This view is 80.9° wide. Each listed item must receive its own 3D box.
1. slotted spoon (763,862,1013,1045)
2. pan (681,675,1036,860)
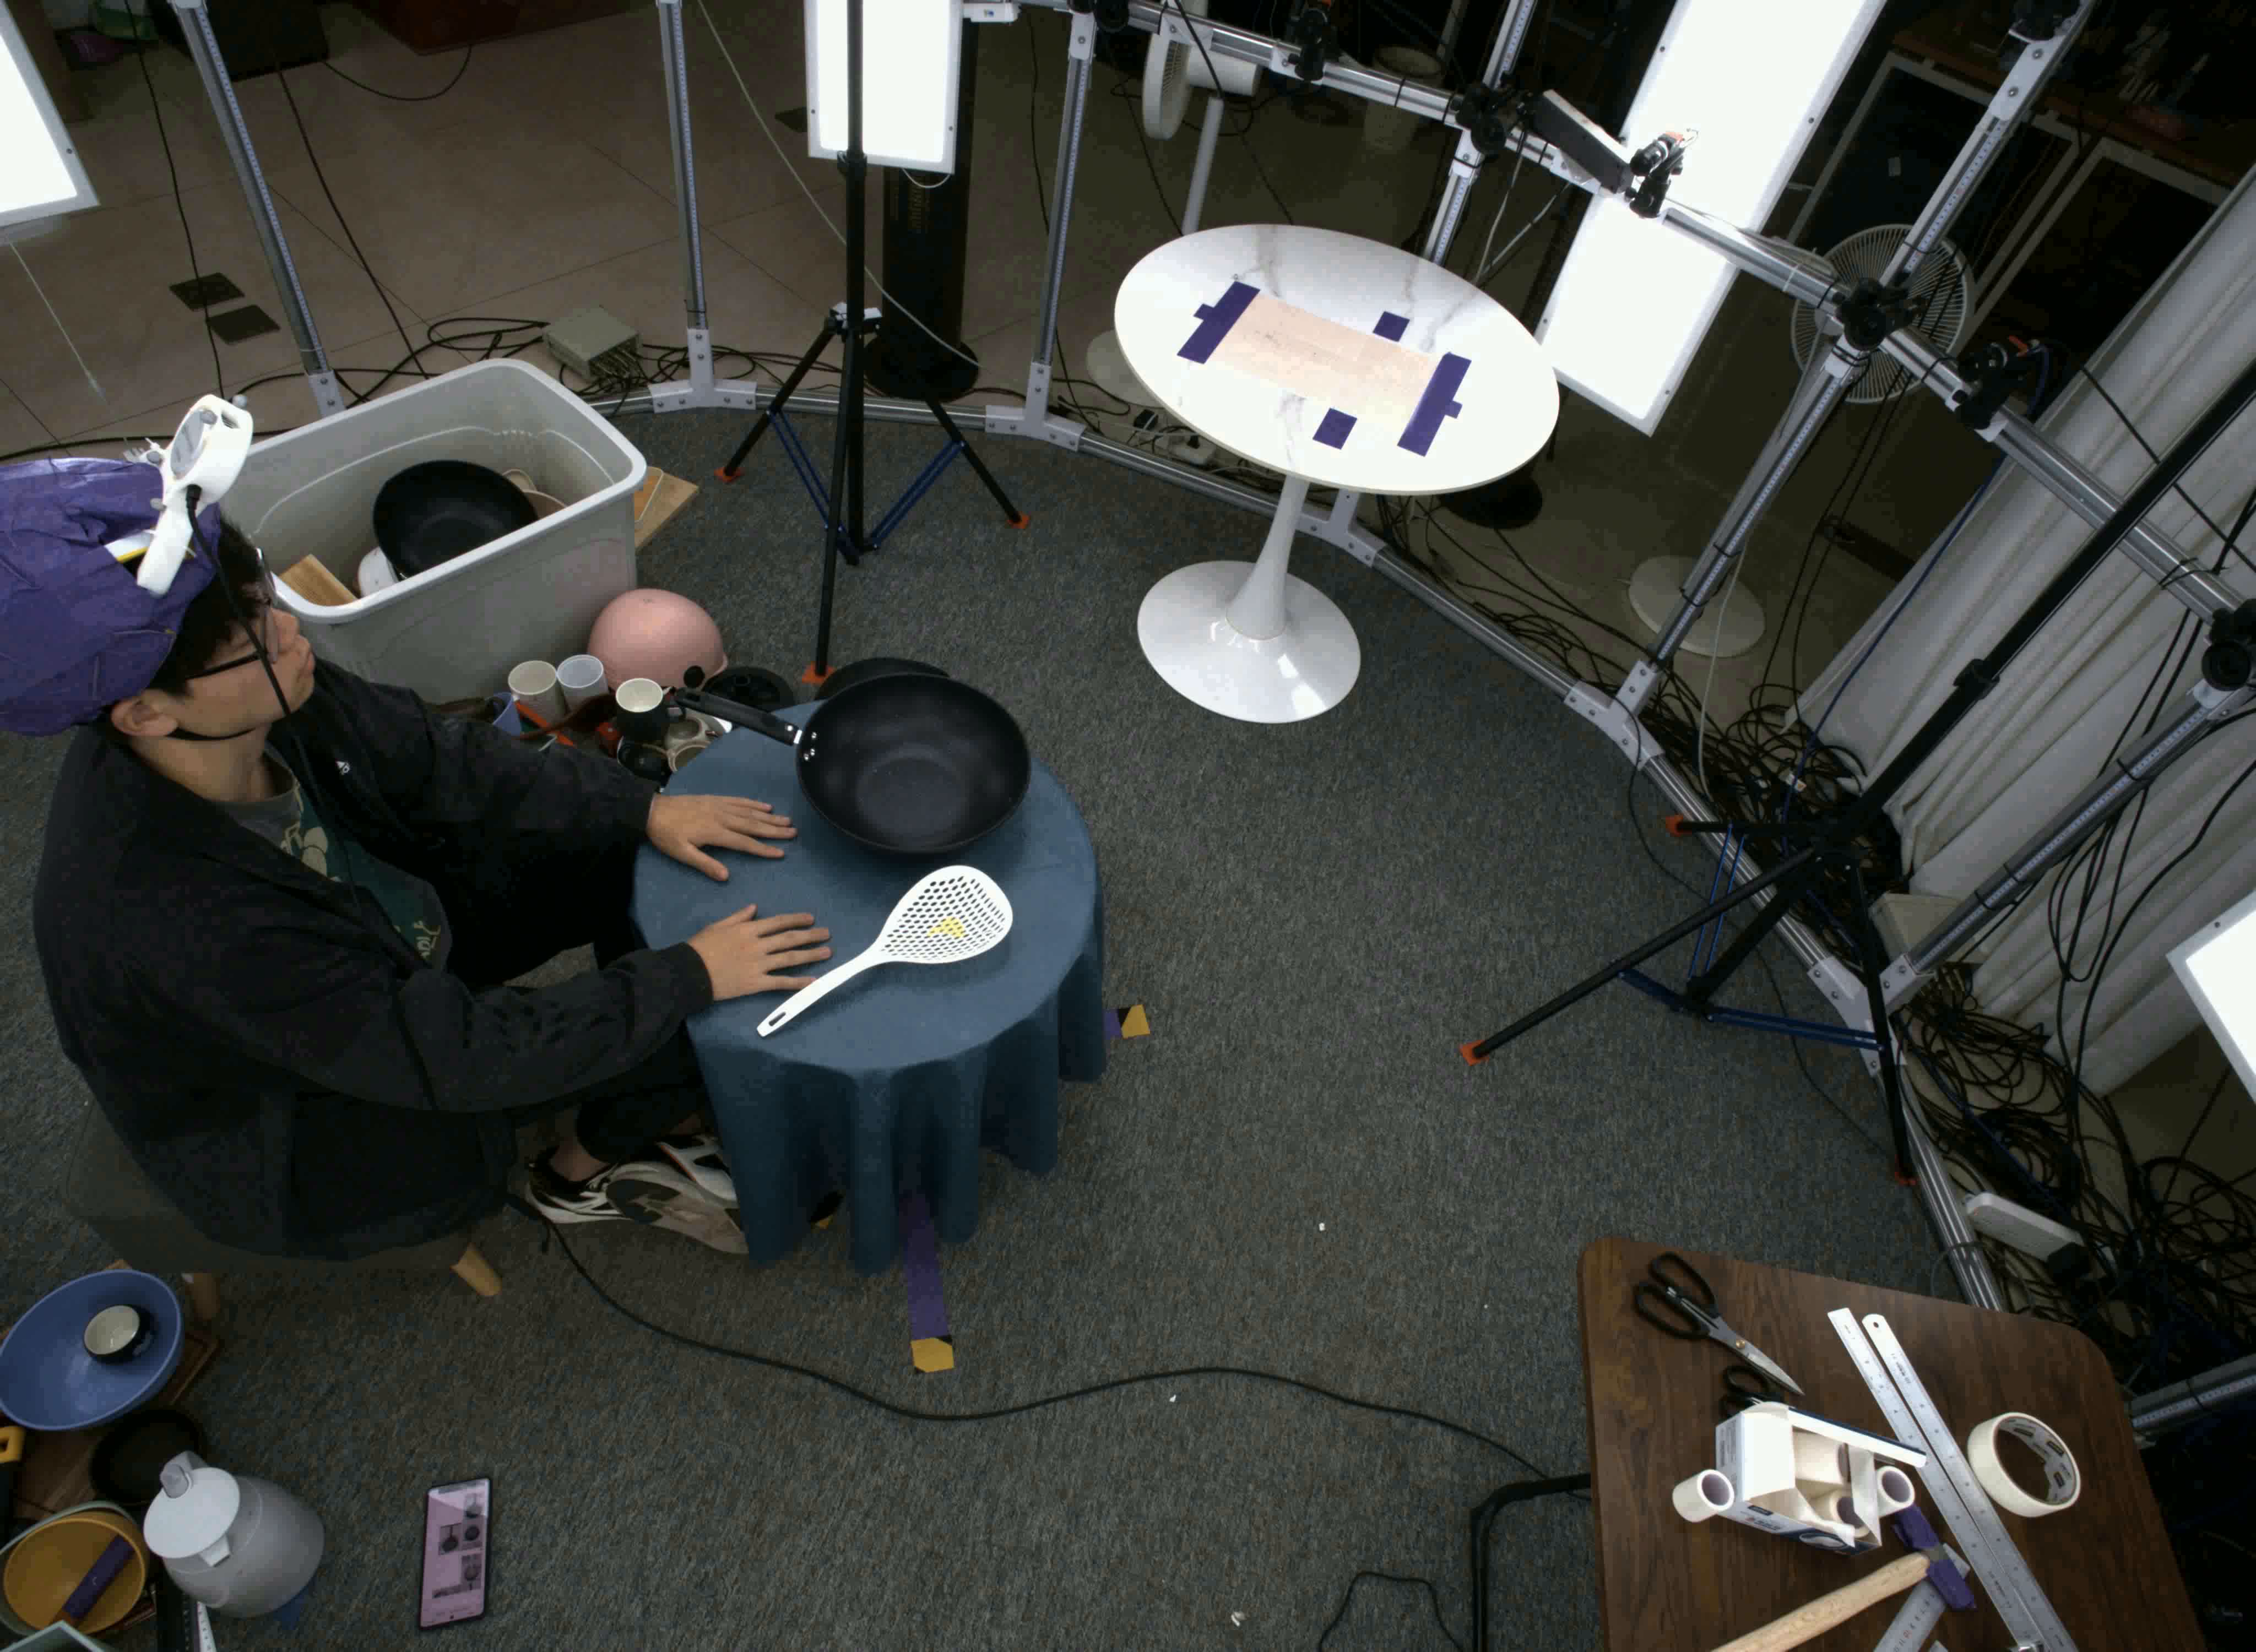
[{"bbox_3d":[-0.301,0.161,1.610,0.349,0.051,0.134,-29,66,-29],"label":"slotted spoon"},{"bbox_3d":[-0.361,-0.090,1.740,0.474,0.114,0.305,12,51,-5],"label":"pan"}]
